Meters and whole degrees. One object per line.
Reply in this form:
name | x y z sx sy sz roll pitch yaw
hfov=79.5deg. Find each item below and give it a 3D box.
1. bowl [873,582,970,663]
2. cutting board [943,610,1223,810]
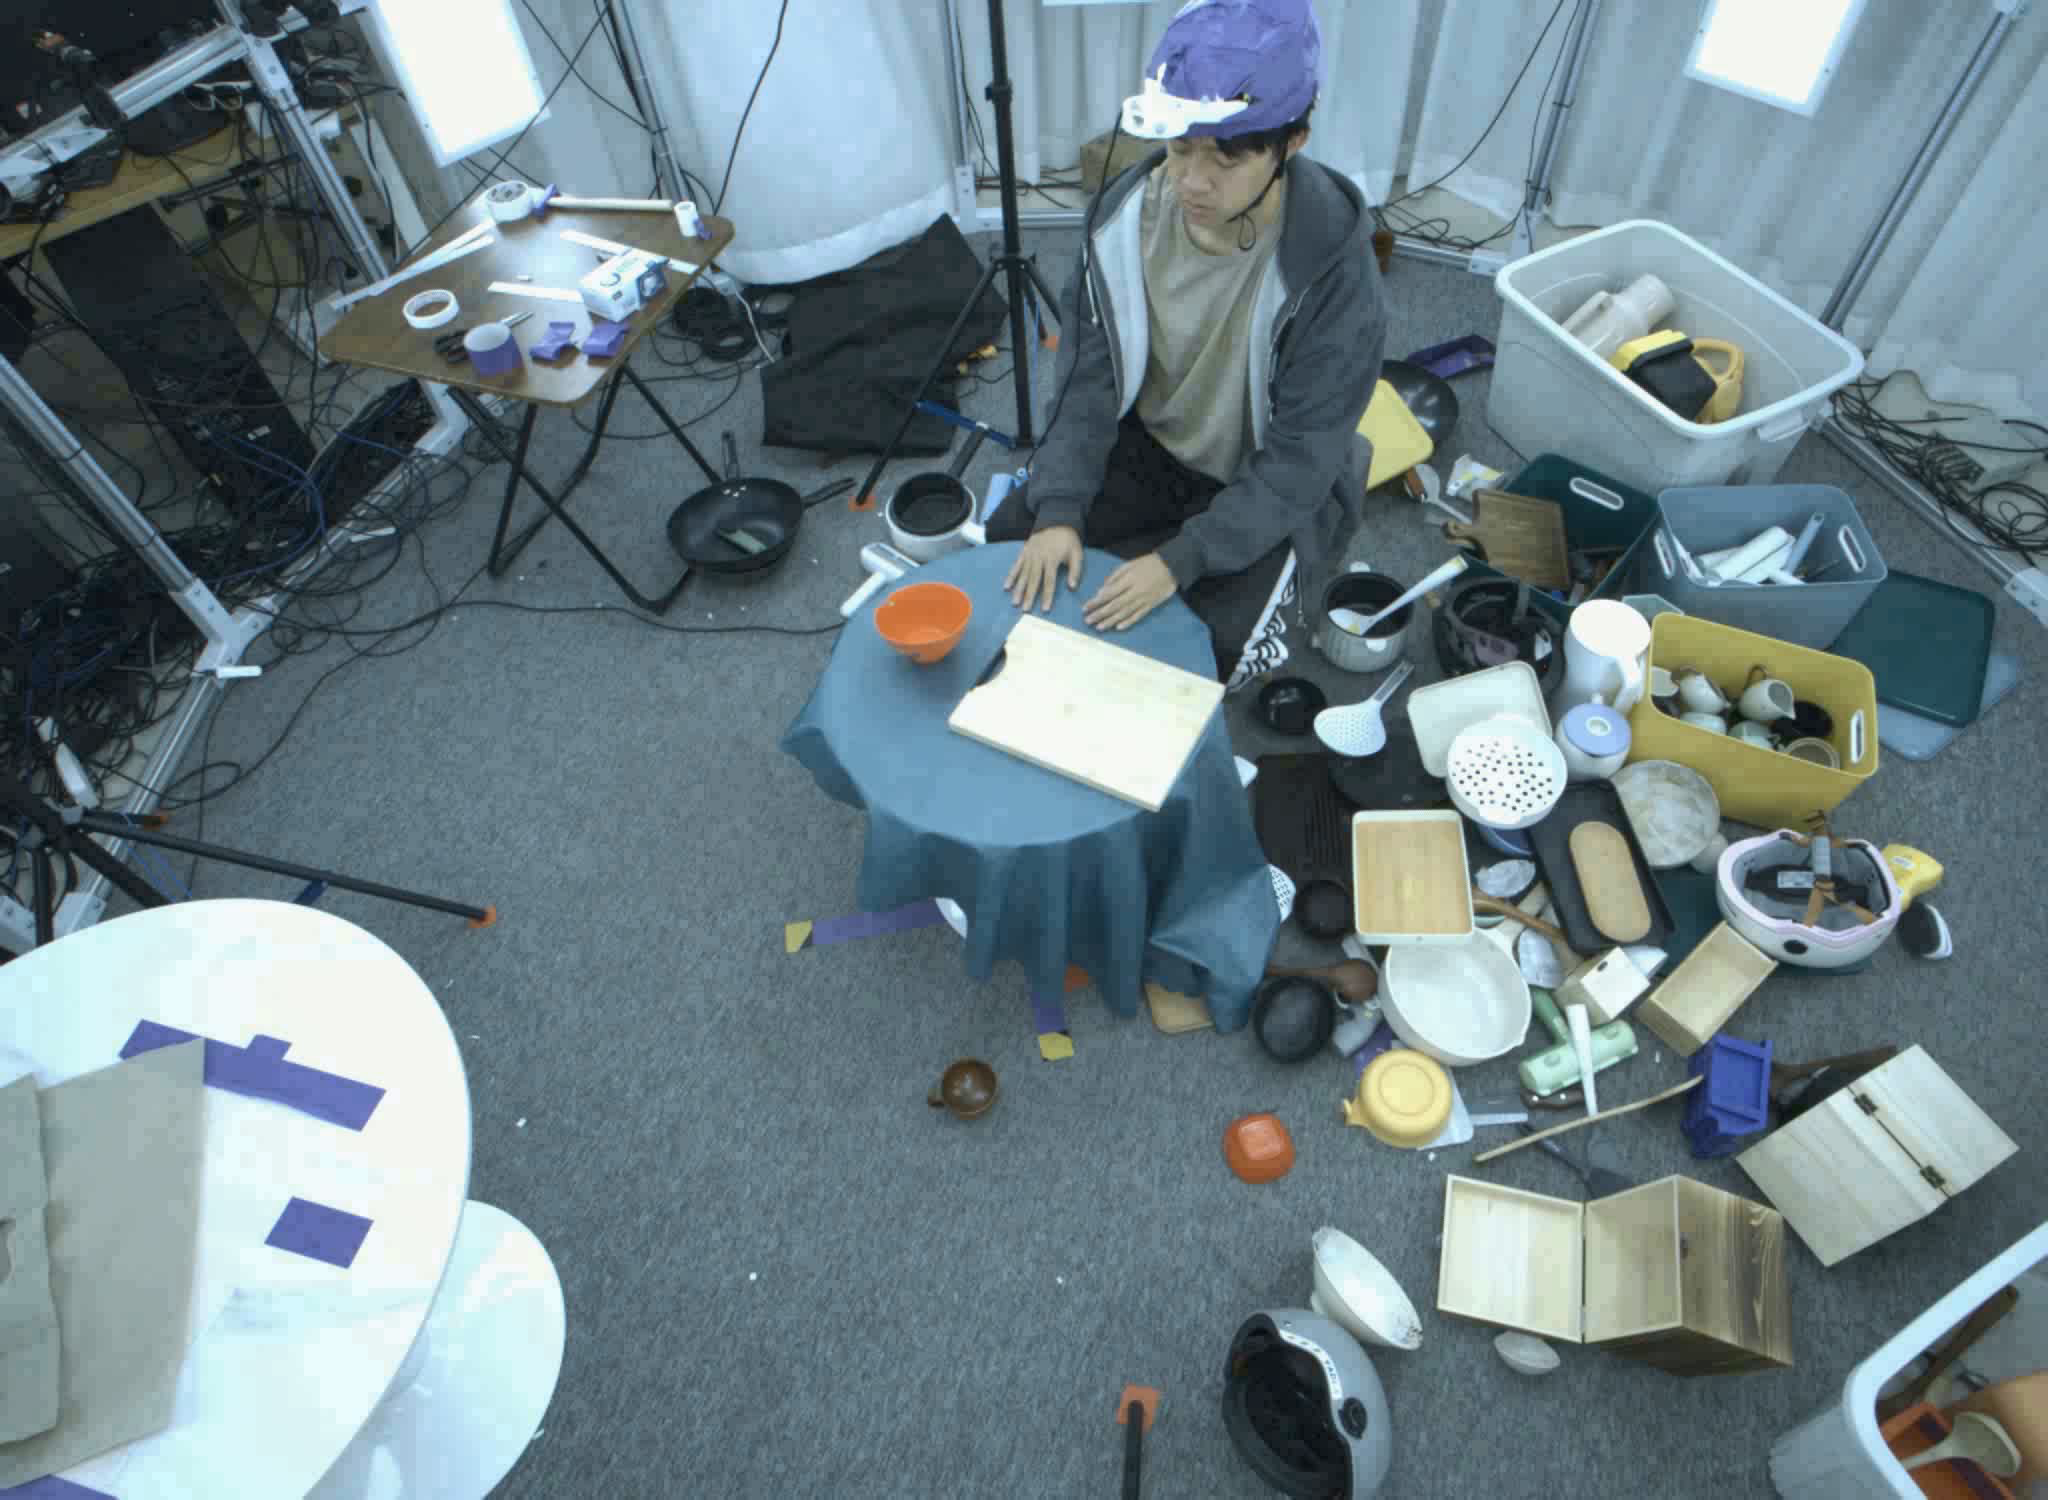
bowl | -0.150 -0.180 1.861 0.148 0.106 0.146 -1 55 3
cutting board | 0.088 -0.066 1.824 0.344 0.024 0.251 22 58 16
